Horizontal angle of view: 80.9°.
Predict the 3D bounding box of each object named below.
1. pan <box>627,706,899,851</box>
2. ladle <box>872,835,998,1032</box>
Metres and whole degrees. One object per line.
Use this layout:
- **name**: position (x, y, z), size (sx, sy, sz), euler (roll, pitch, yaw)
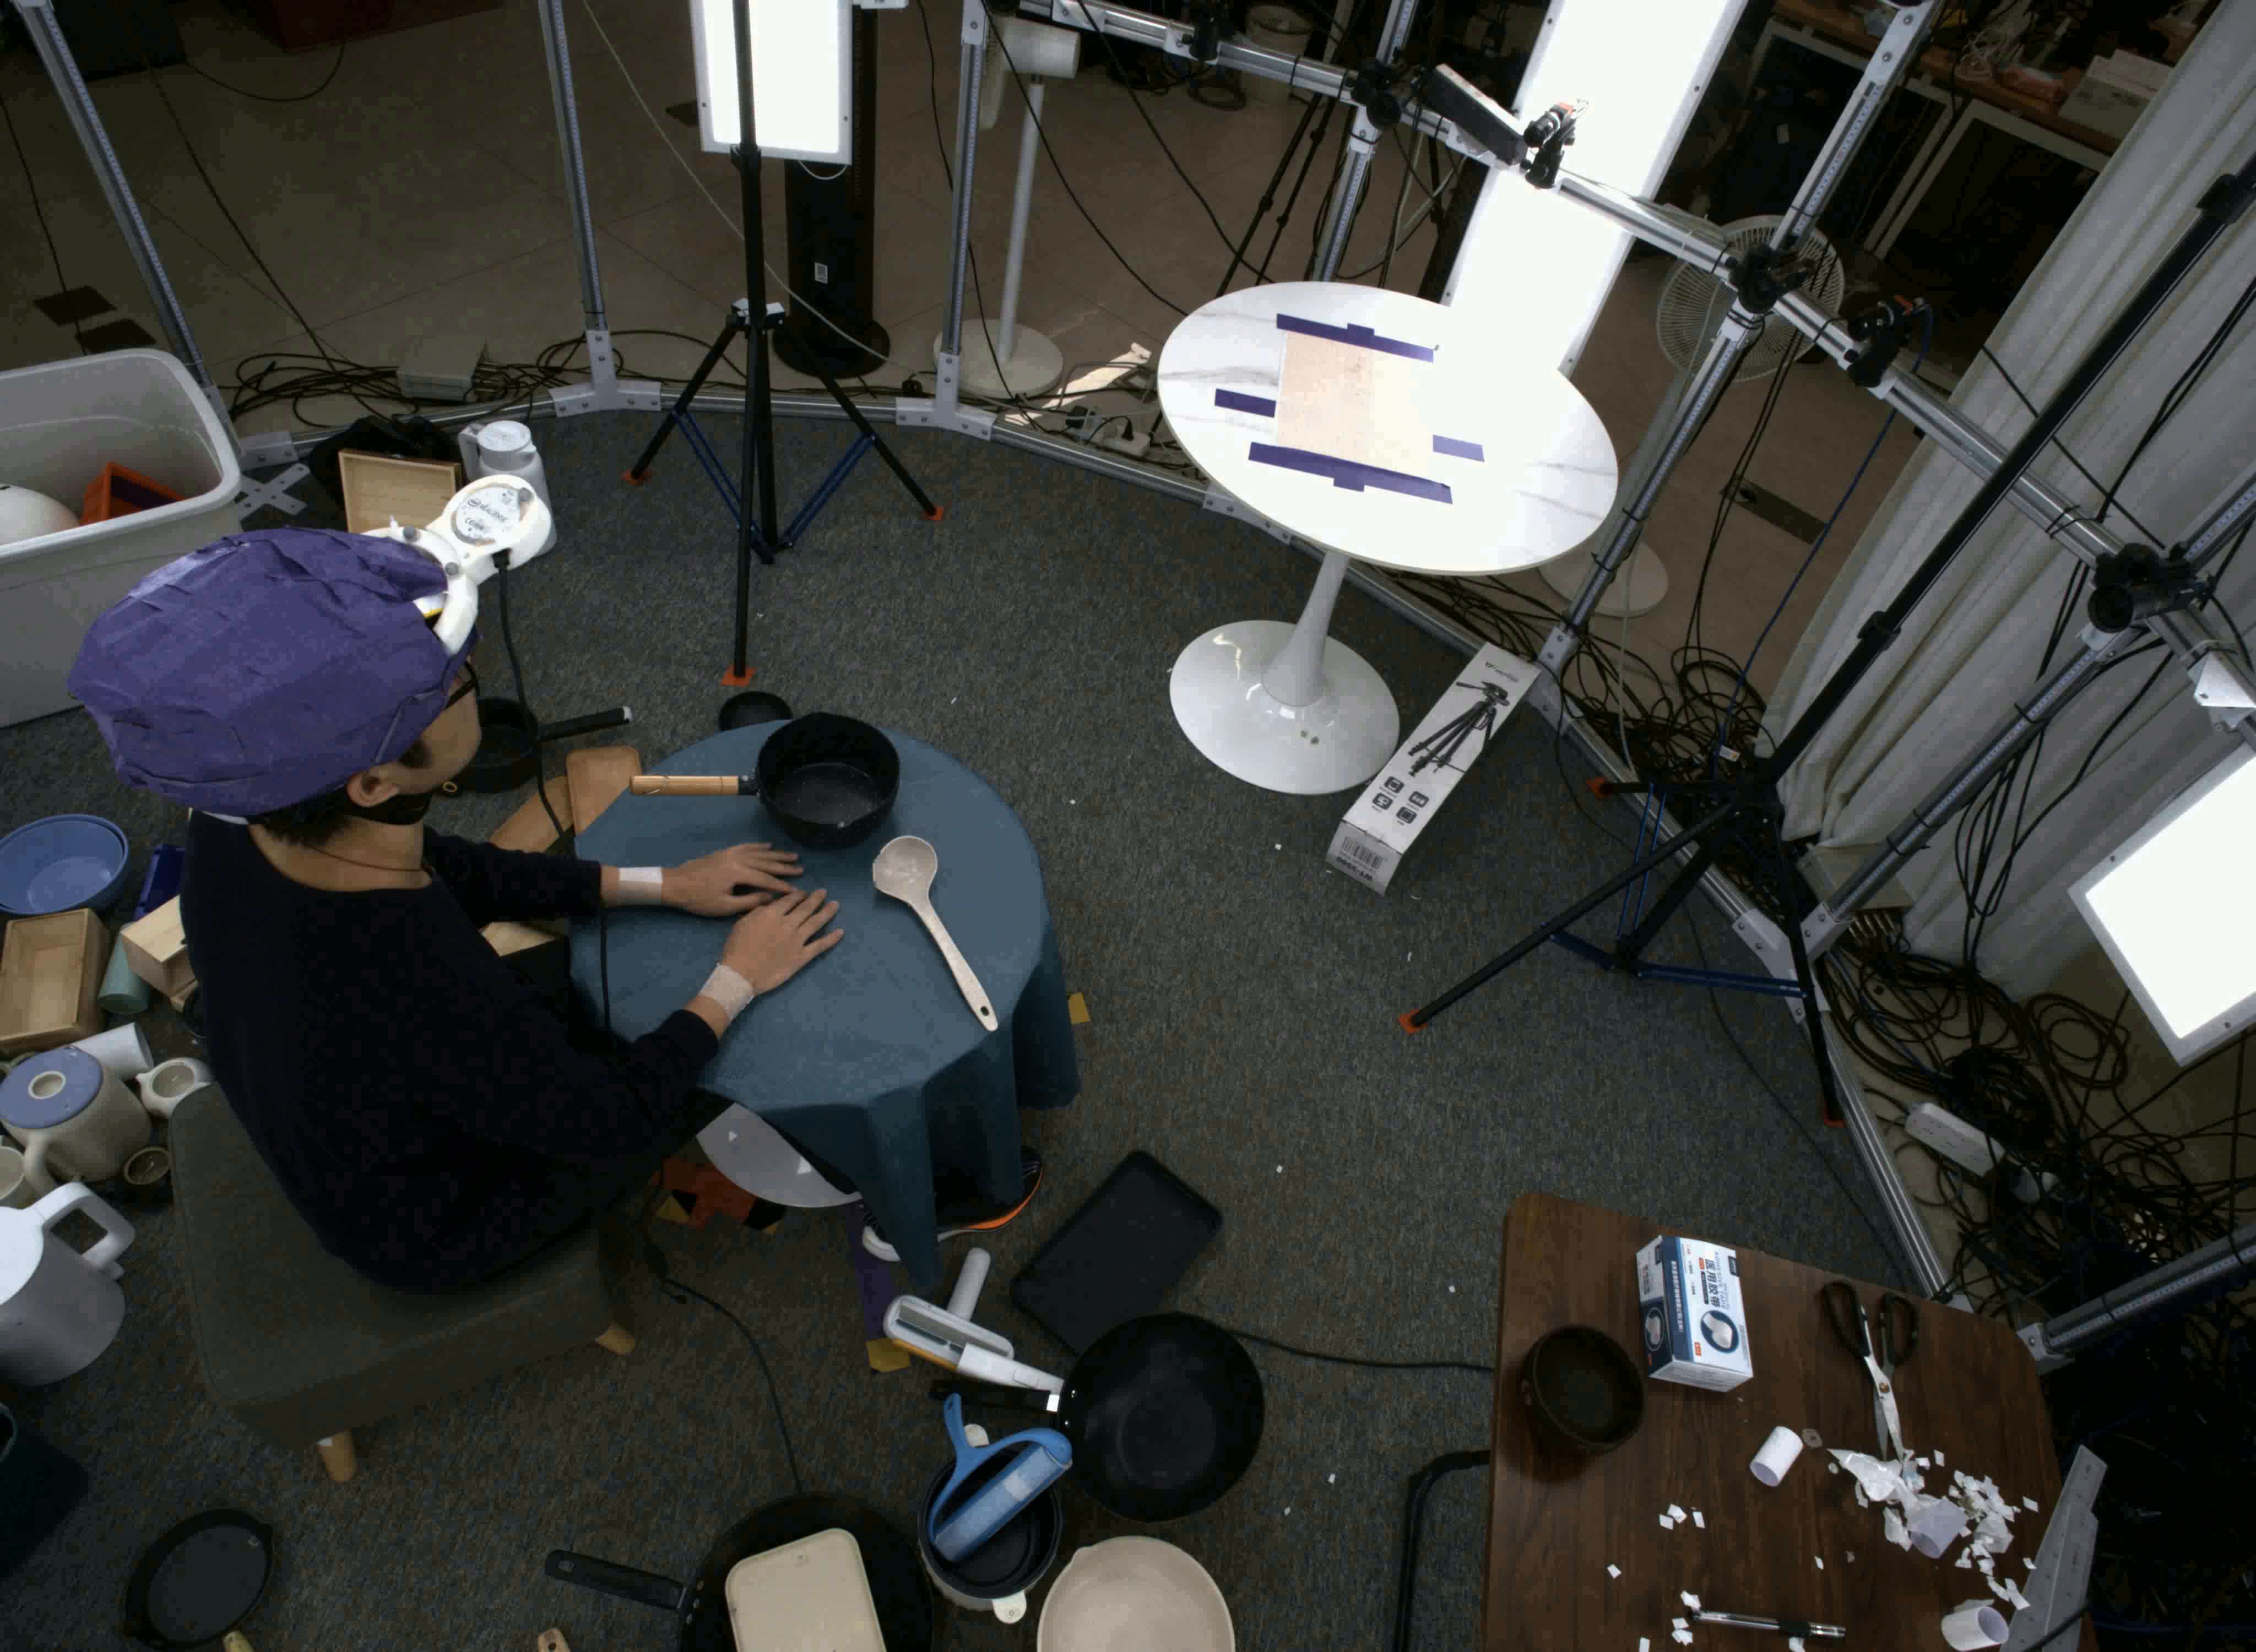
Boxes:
- **pan**: position (-0.467, -0.048, 1.668), size (0.345, 0.110, 0.202), euler (-9, 57, -23)
- **ladle**: position (-0.230, 0.130, 1.626), size (0.090, 0.070, 0.268), euler (-19, 61, -34)
